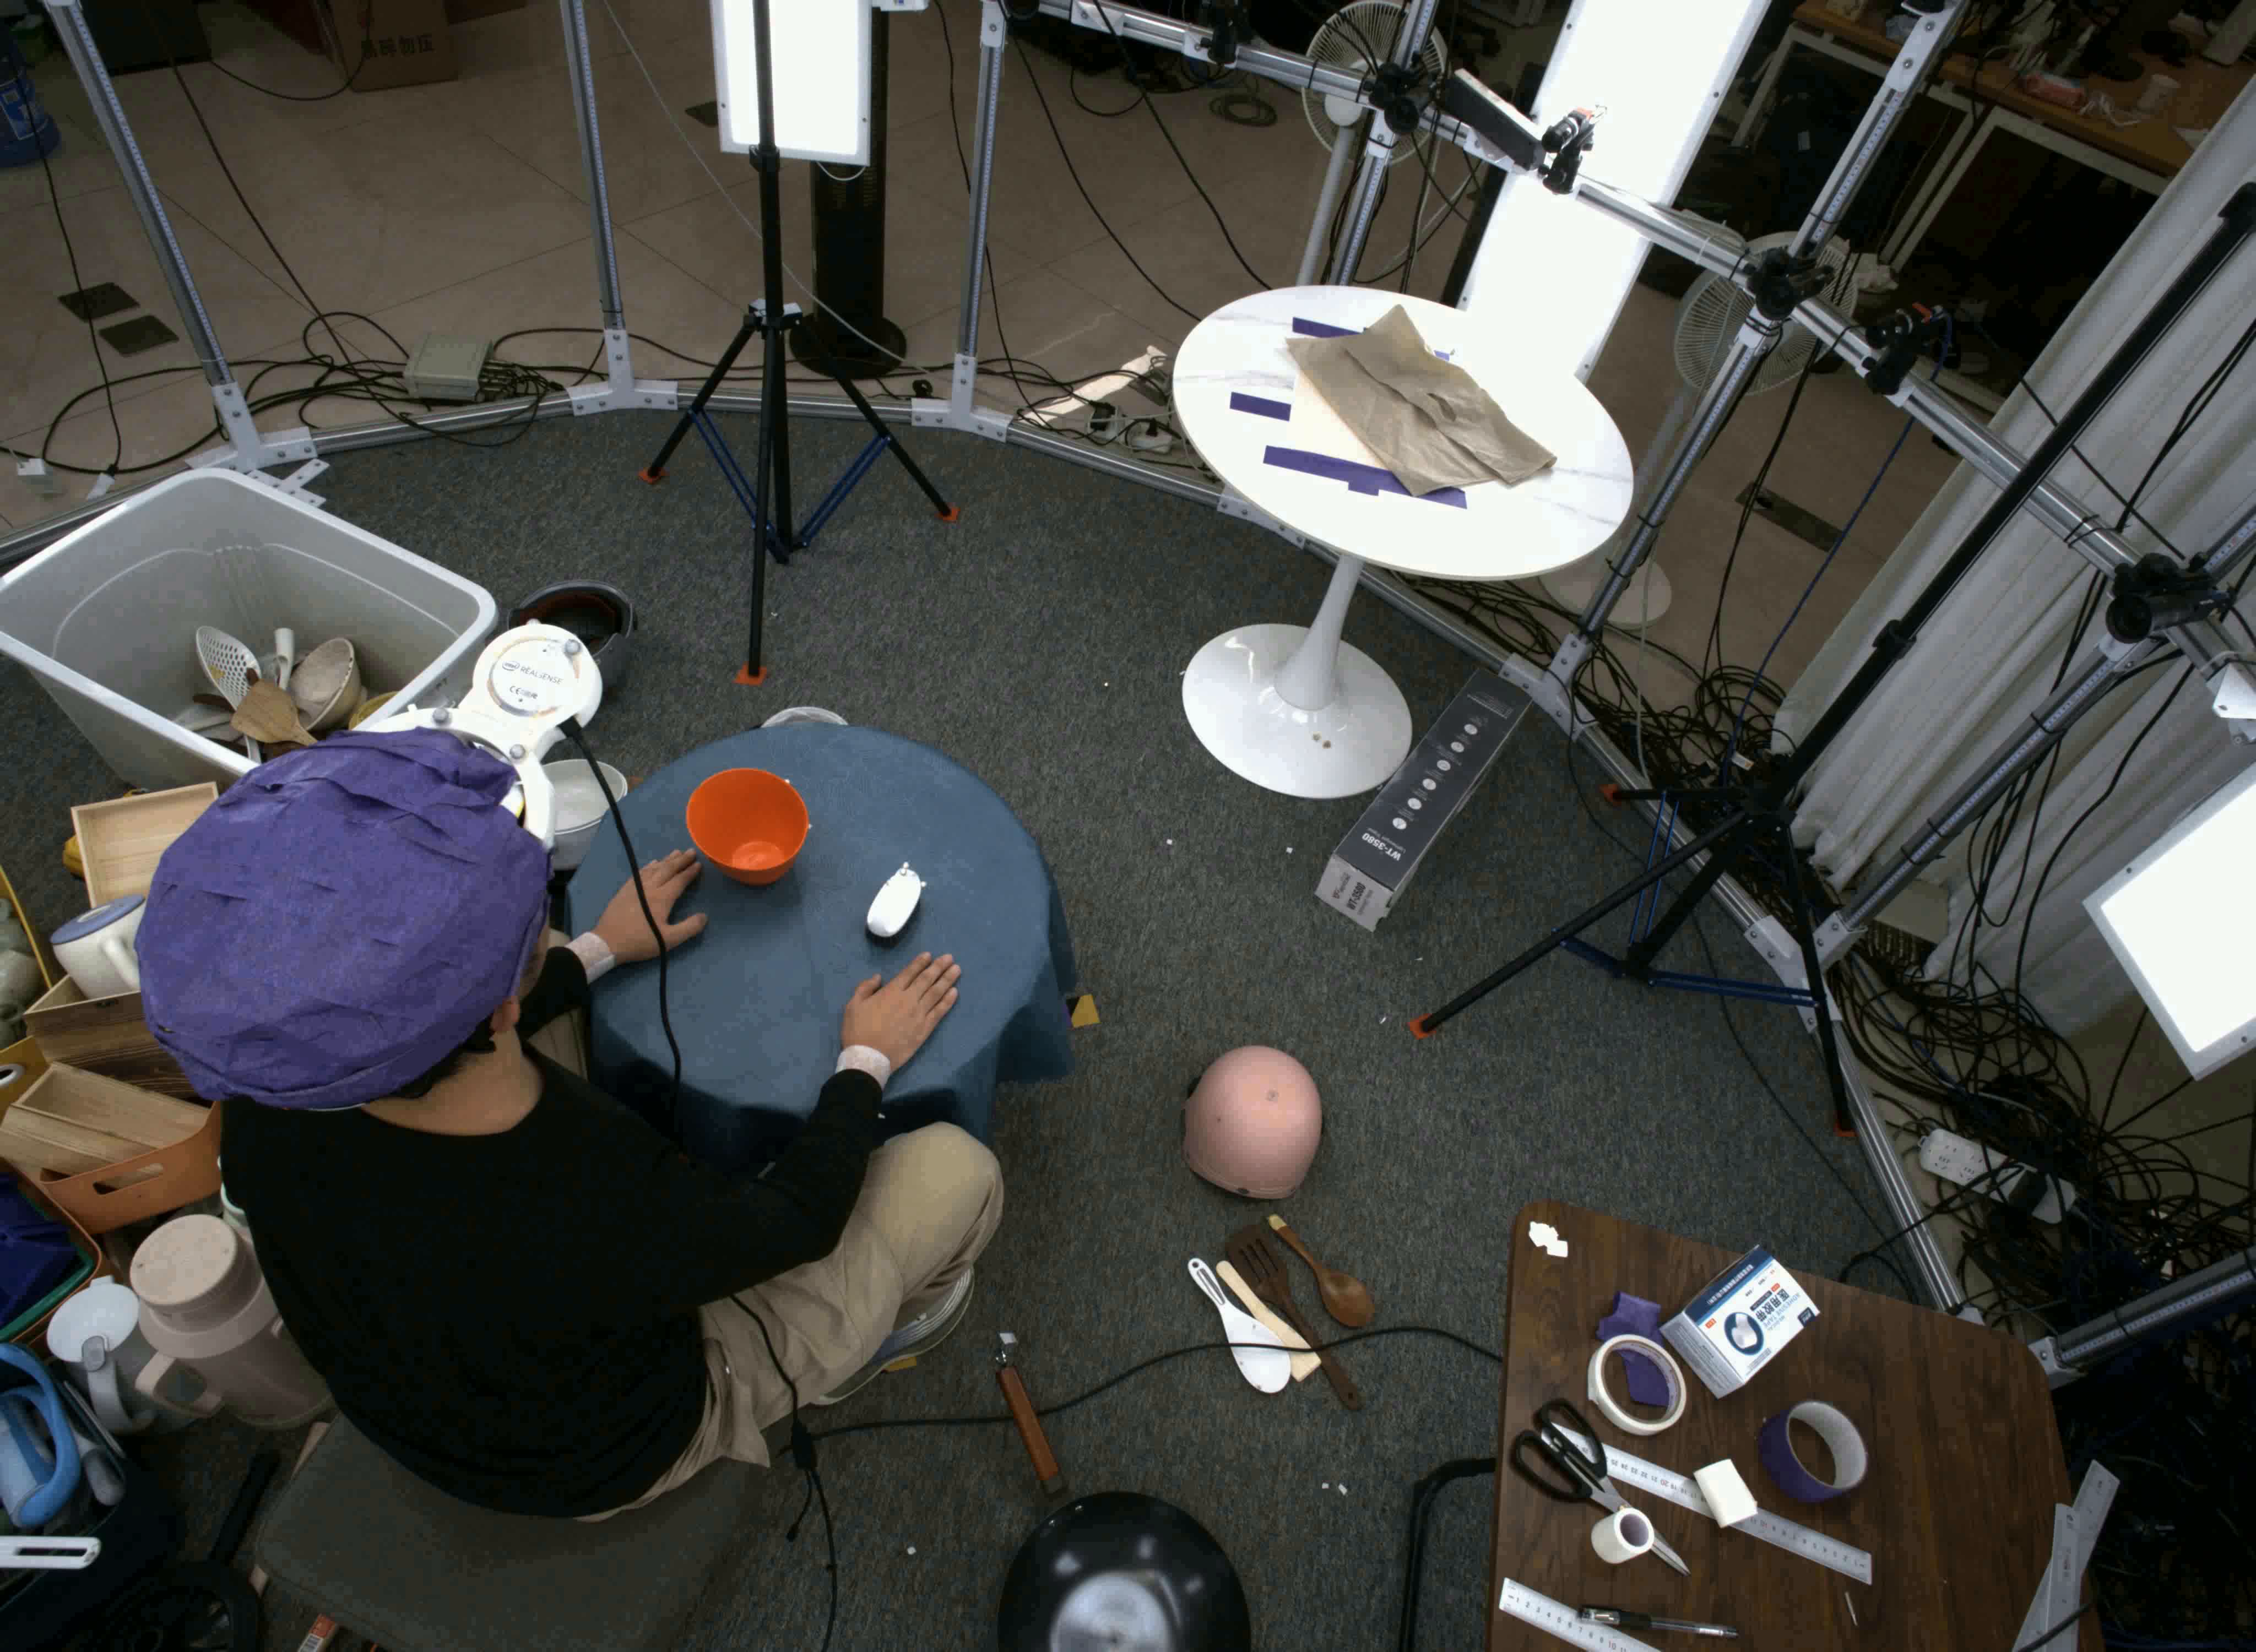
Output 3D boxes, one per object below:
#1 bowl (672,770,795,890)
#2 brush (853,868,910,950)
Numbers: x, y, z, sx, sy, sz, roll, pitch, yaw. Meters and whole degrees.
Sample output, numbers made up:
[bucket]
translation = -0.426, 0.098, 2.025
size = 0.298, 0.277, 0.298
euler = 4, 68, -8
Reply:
[bowl]
translation = -0.492, 0.017, 1.626
size = 0.148, 0.107, 0.145
euler = 7, 53, -8
[brush]
translation = -0.309, 0.095, 1.630
size = 0.049, 0.074, 0.098
euler = 23, 51, 5
